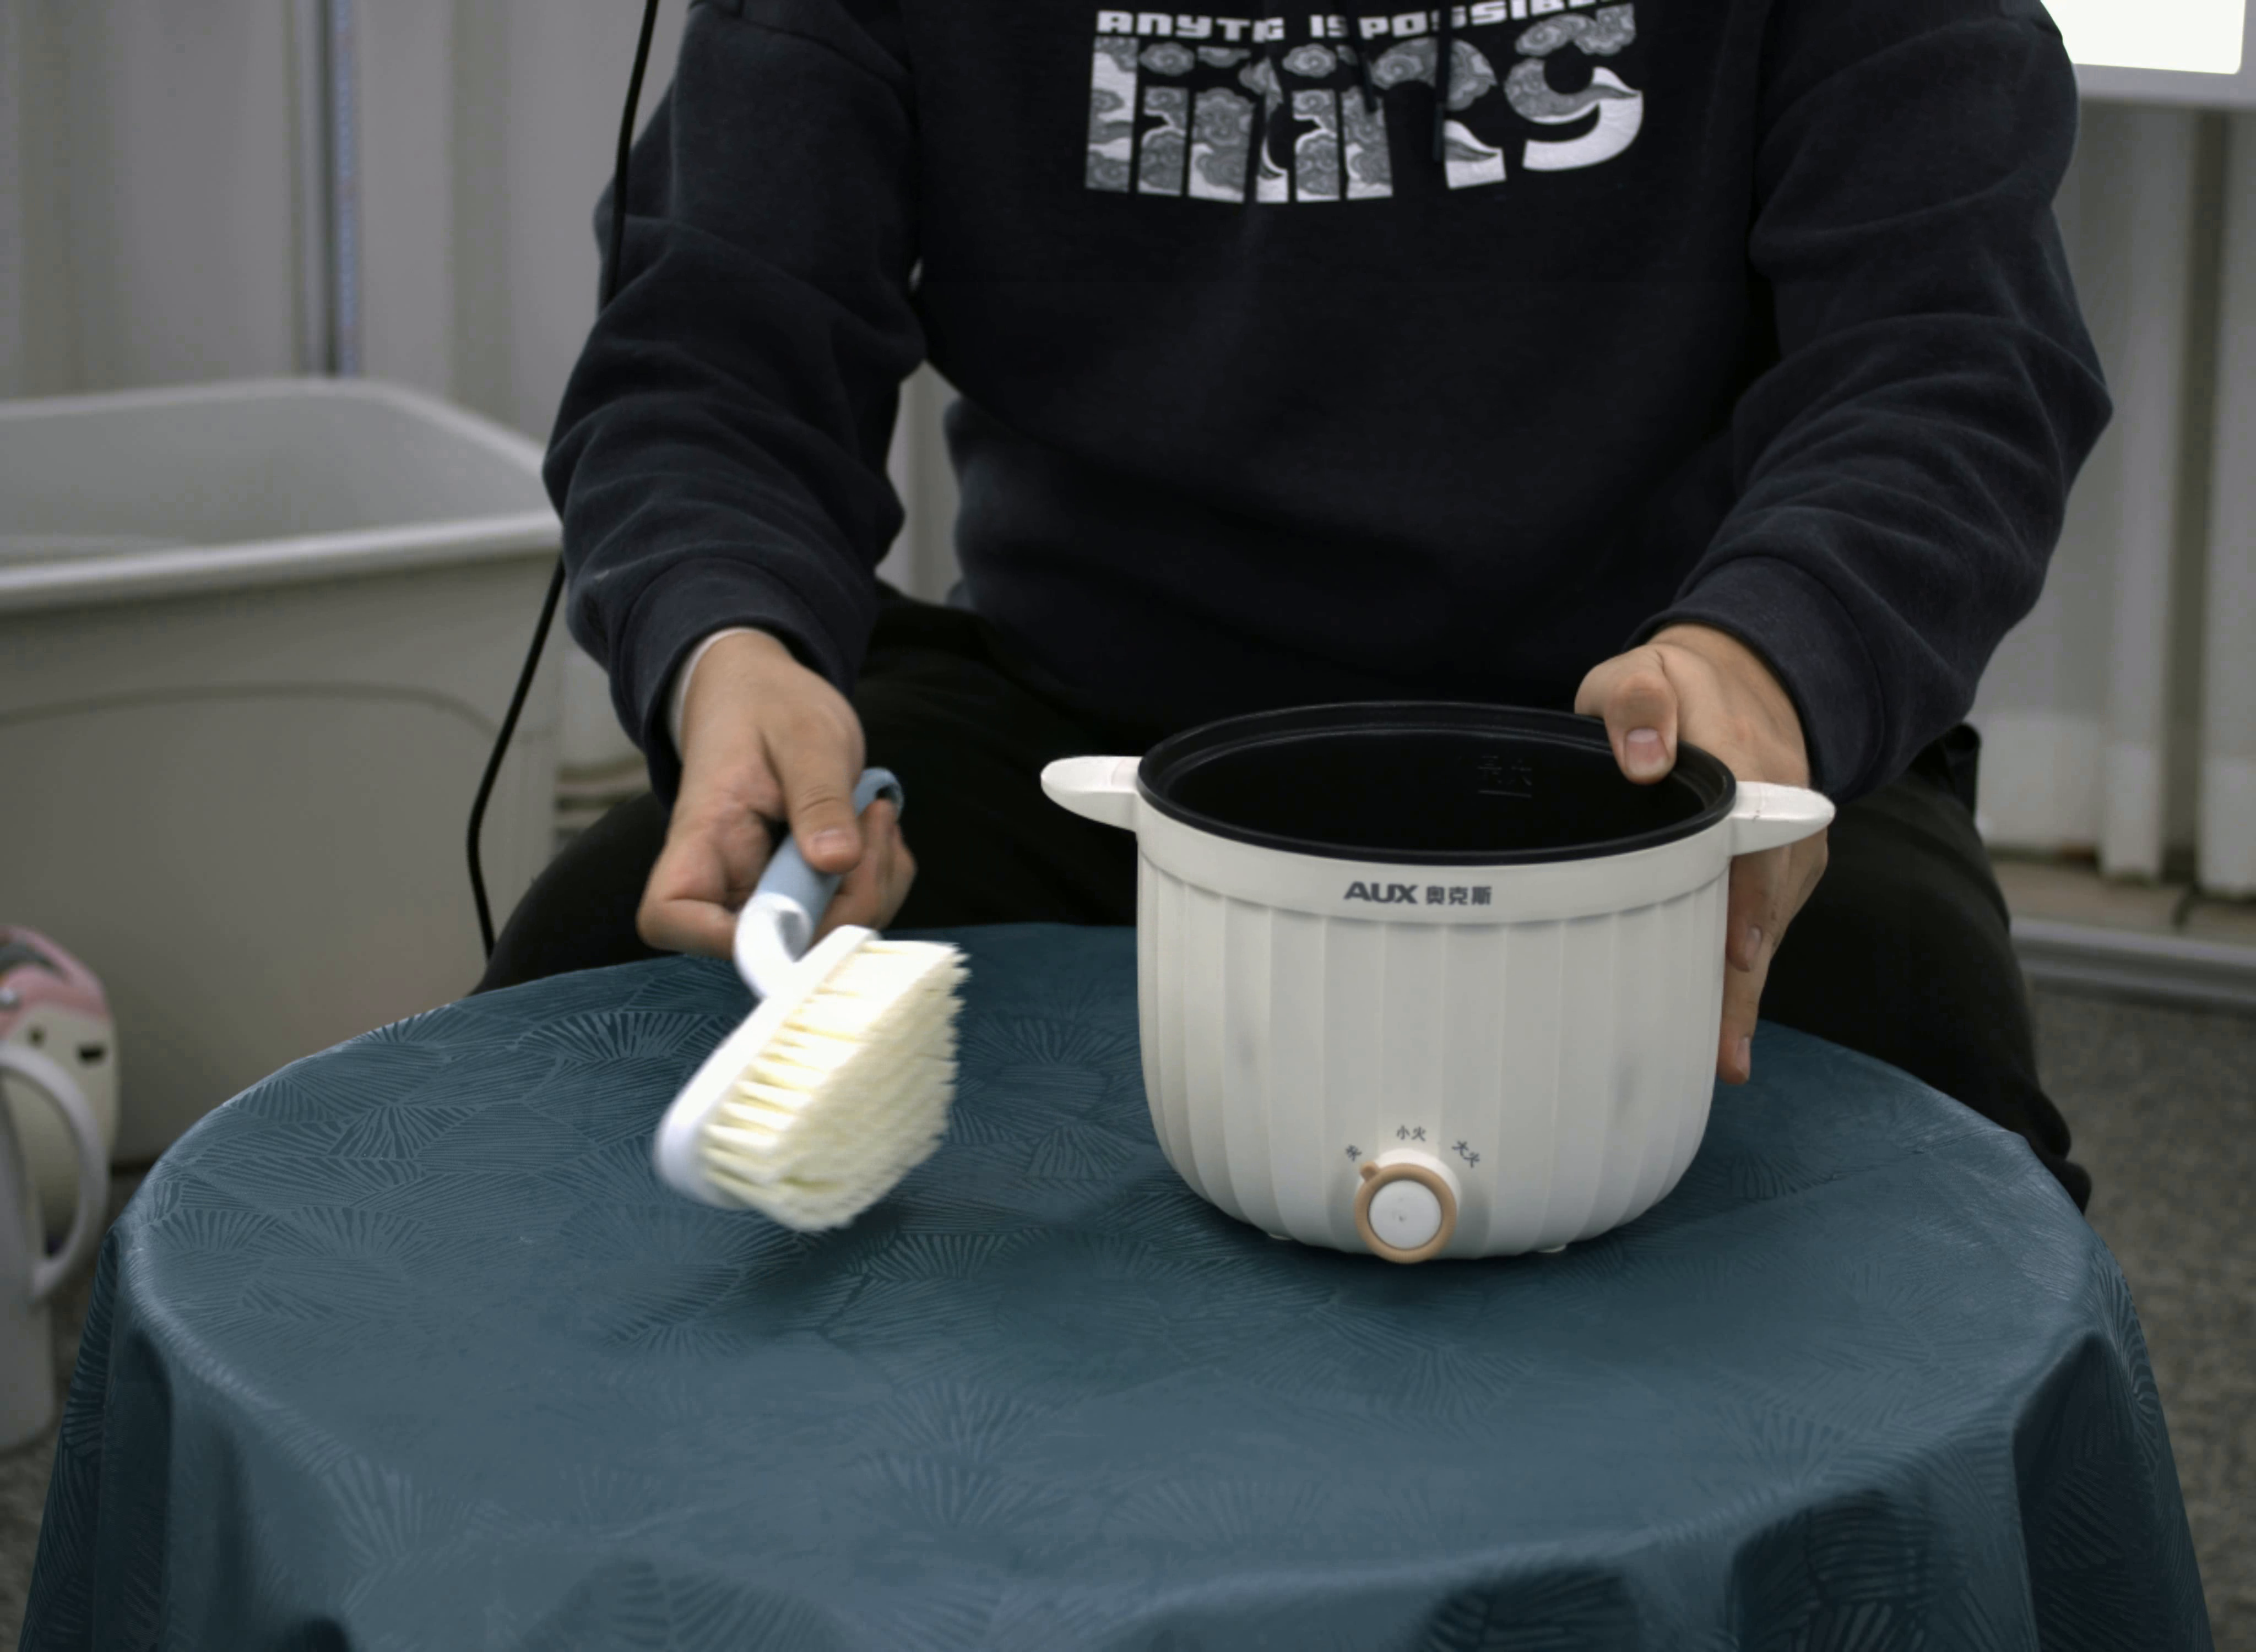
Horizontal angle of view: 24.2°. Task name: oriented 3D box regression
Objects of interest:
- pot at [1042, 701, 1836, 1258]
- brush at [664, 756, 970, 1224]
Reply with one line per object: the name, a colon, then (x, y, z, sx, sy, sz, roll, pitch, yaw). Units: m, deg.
pot: (0.093, 0.049, 1.599, 0.239, 0.143, 0.190, 1, 13, 5)
brush: (-0.074, 0.039, 1.653, 0.085, 0.083, 0.324, 42, 20, -8)
